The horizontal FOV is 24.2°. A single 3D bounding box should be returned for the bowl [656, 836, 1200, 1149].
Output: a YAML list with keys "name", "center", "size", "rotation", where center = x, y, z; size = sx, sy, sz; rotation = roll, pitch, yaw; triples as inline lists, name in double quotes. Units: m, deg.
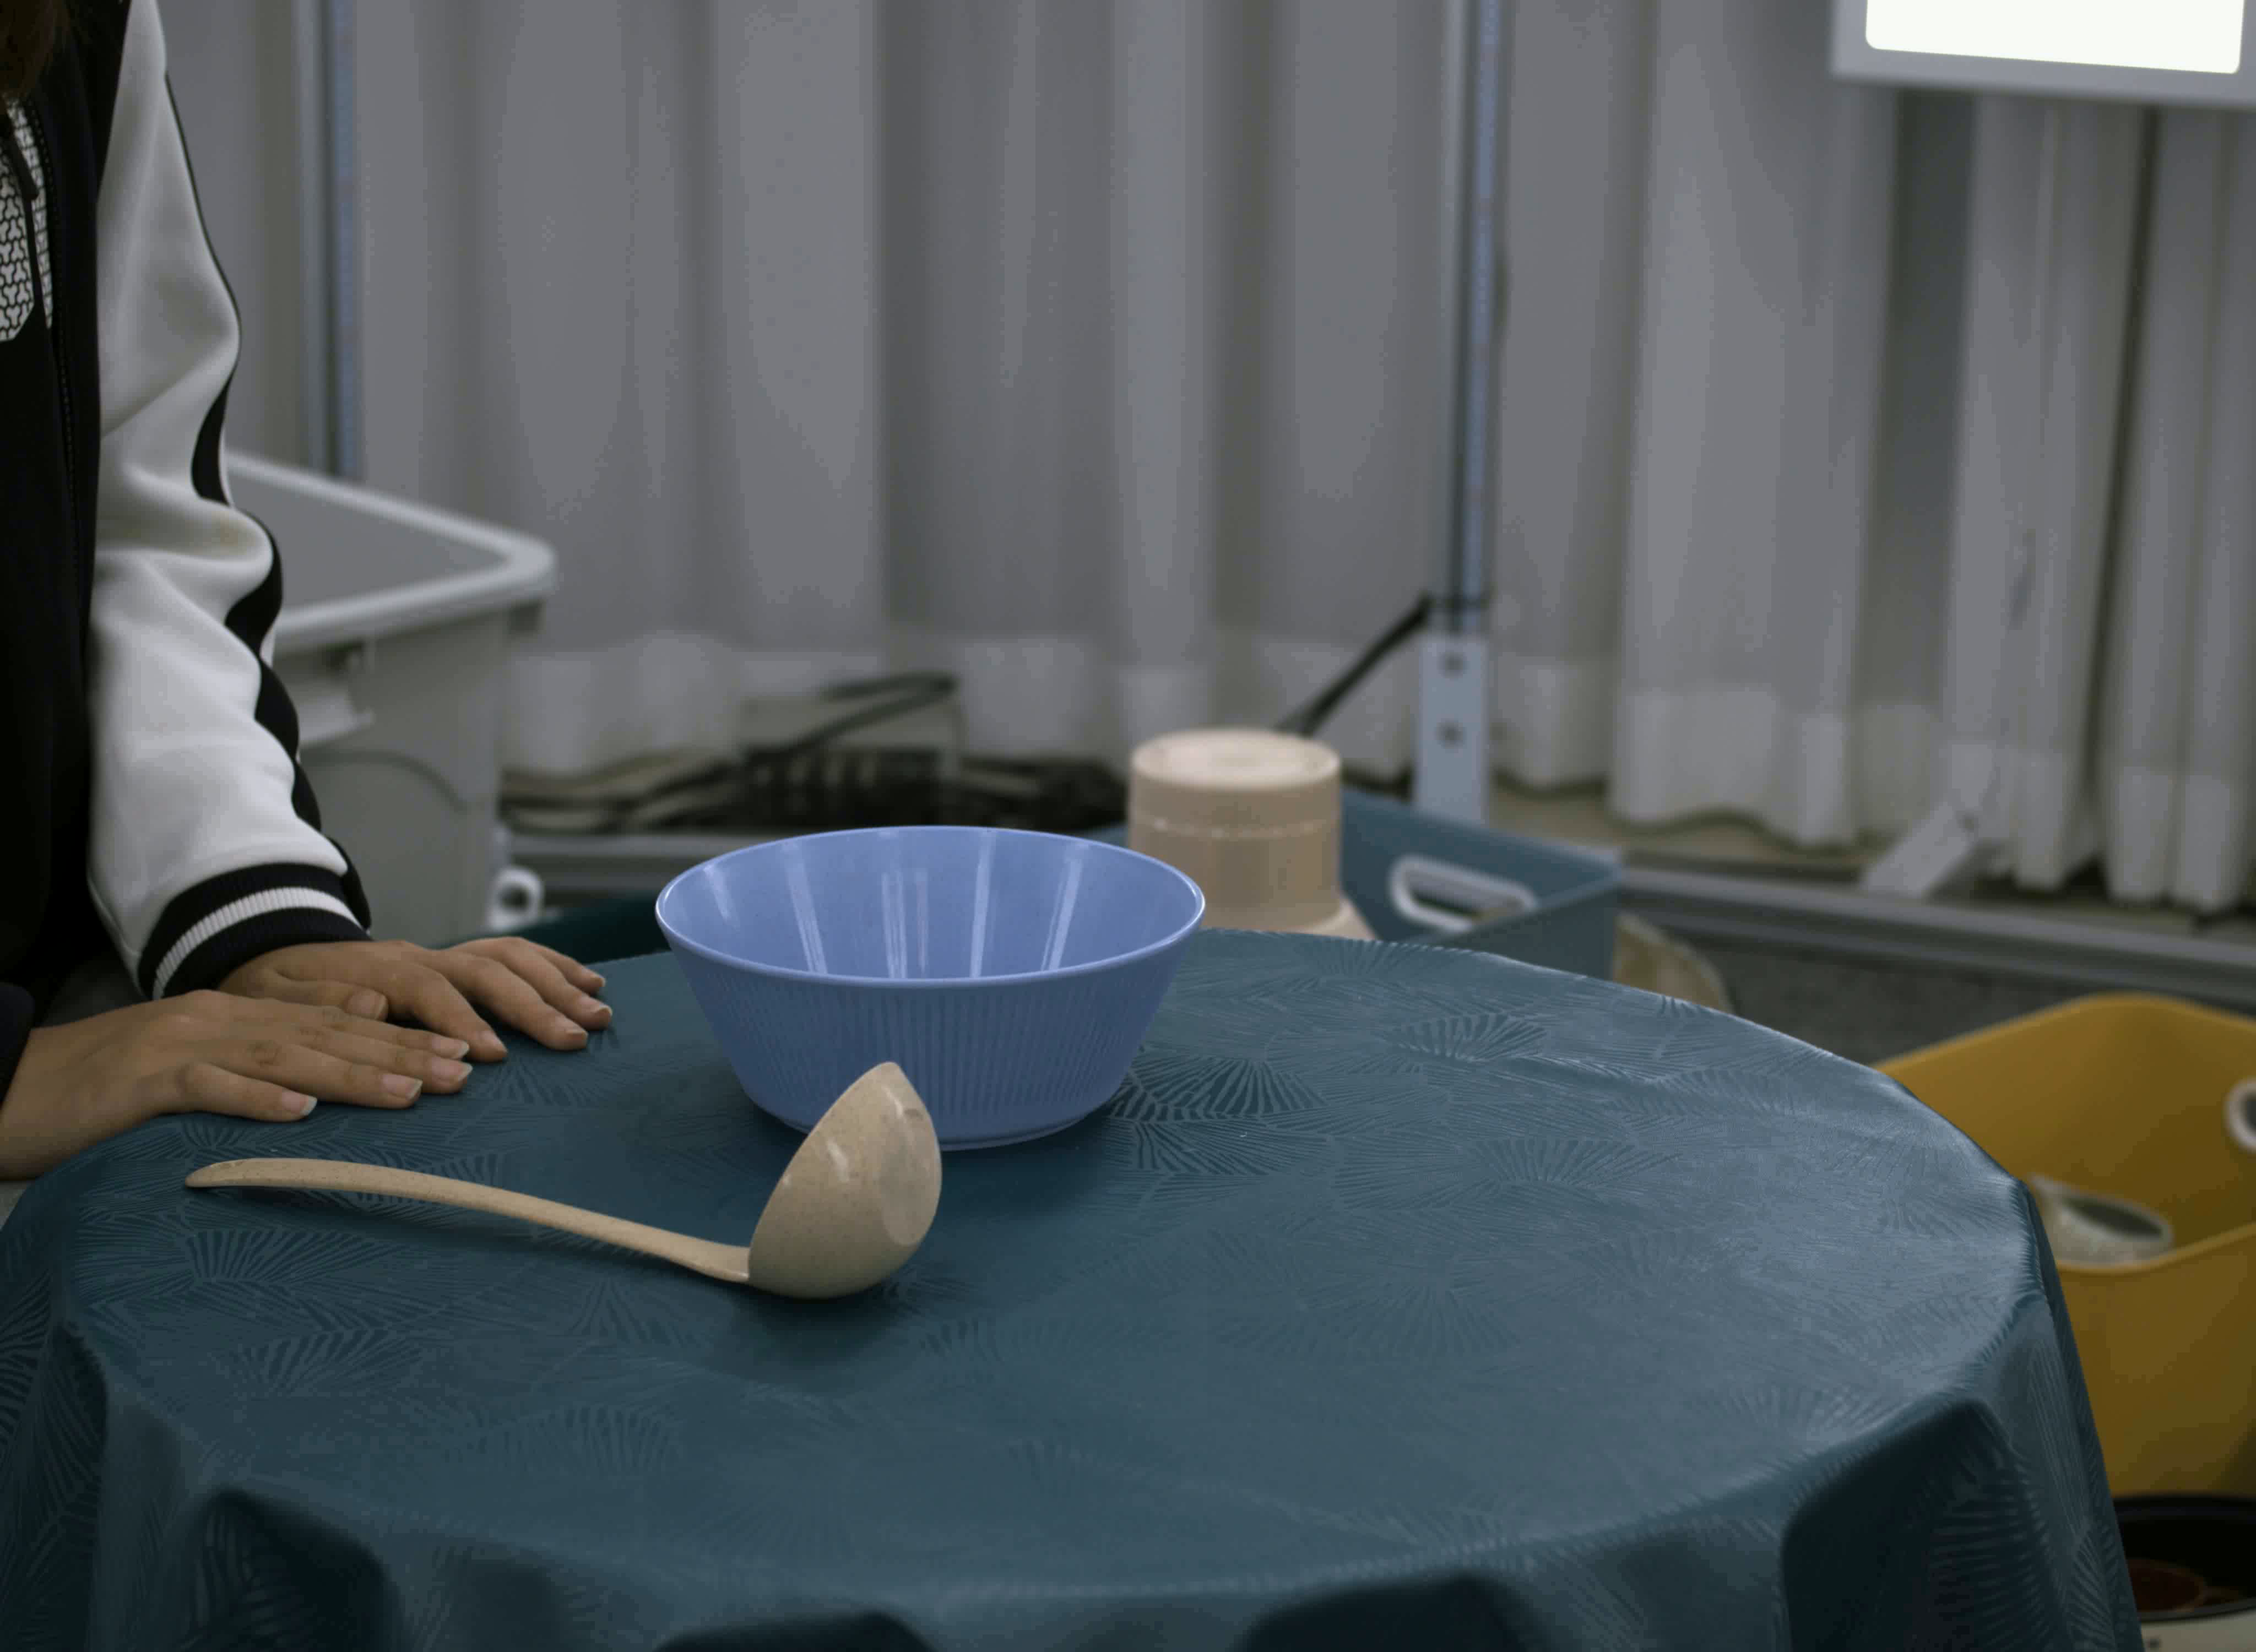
- name: "bowl"
  center: [-0.064, 0.055, 1.694]
  size: [0.175, 0.071, 0.175]
  rotation: [1, 15, 0]

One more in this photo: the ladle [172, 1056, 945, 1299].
- name: "ladle"
  center: [-0.176, 0.090, 1.558]
  size: [0.252, 0.073, 0.072]
  rotation: [7, 17, 21]
